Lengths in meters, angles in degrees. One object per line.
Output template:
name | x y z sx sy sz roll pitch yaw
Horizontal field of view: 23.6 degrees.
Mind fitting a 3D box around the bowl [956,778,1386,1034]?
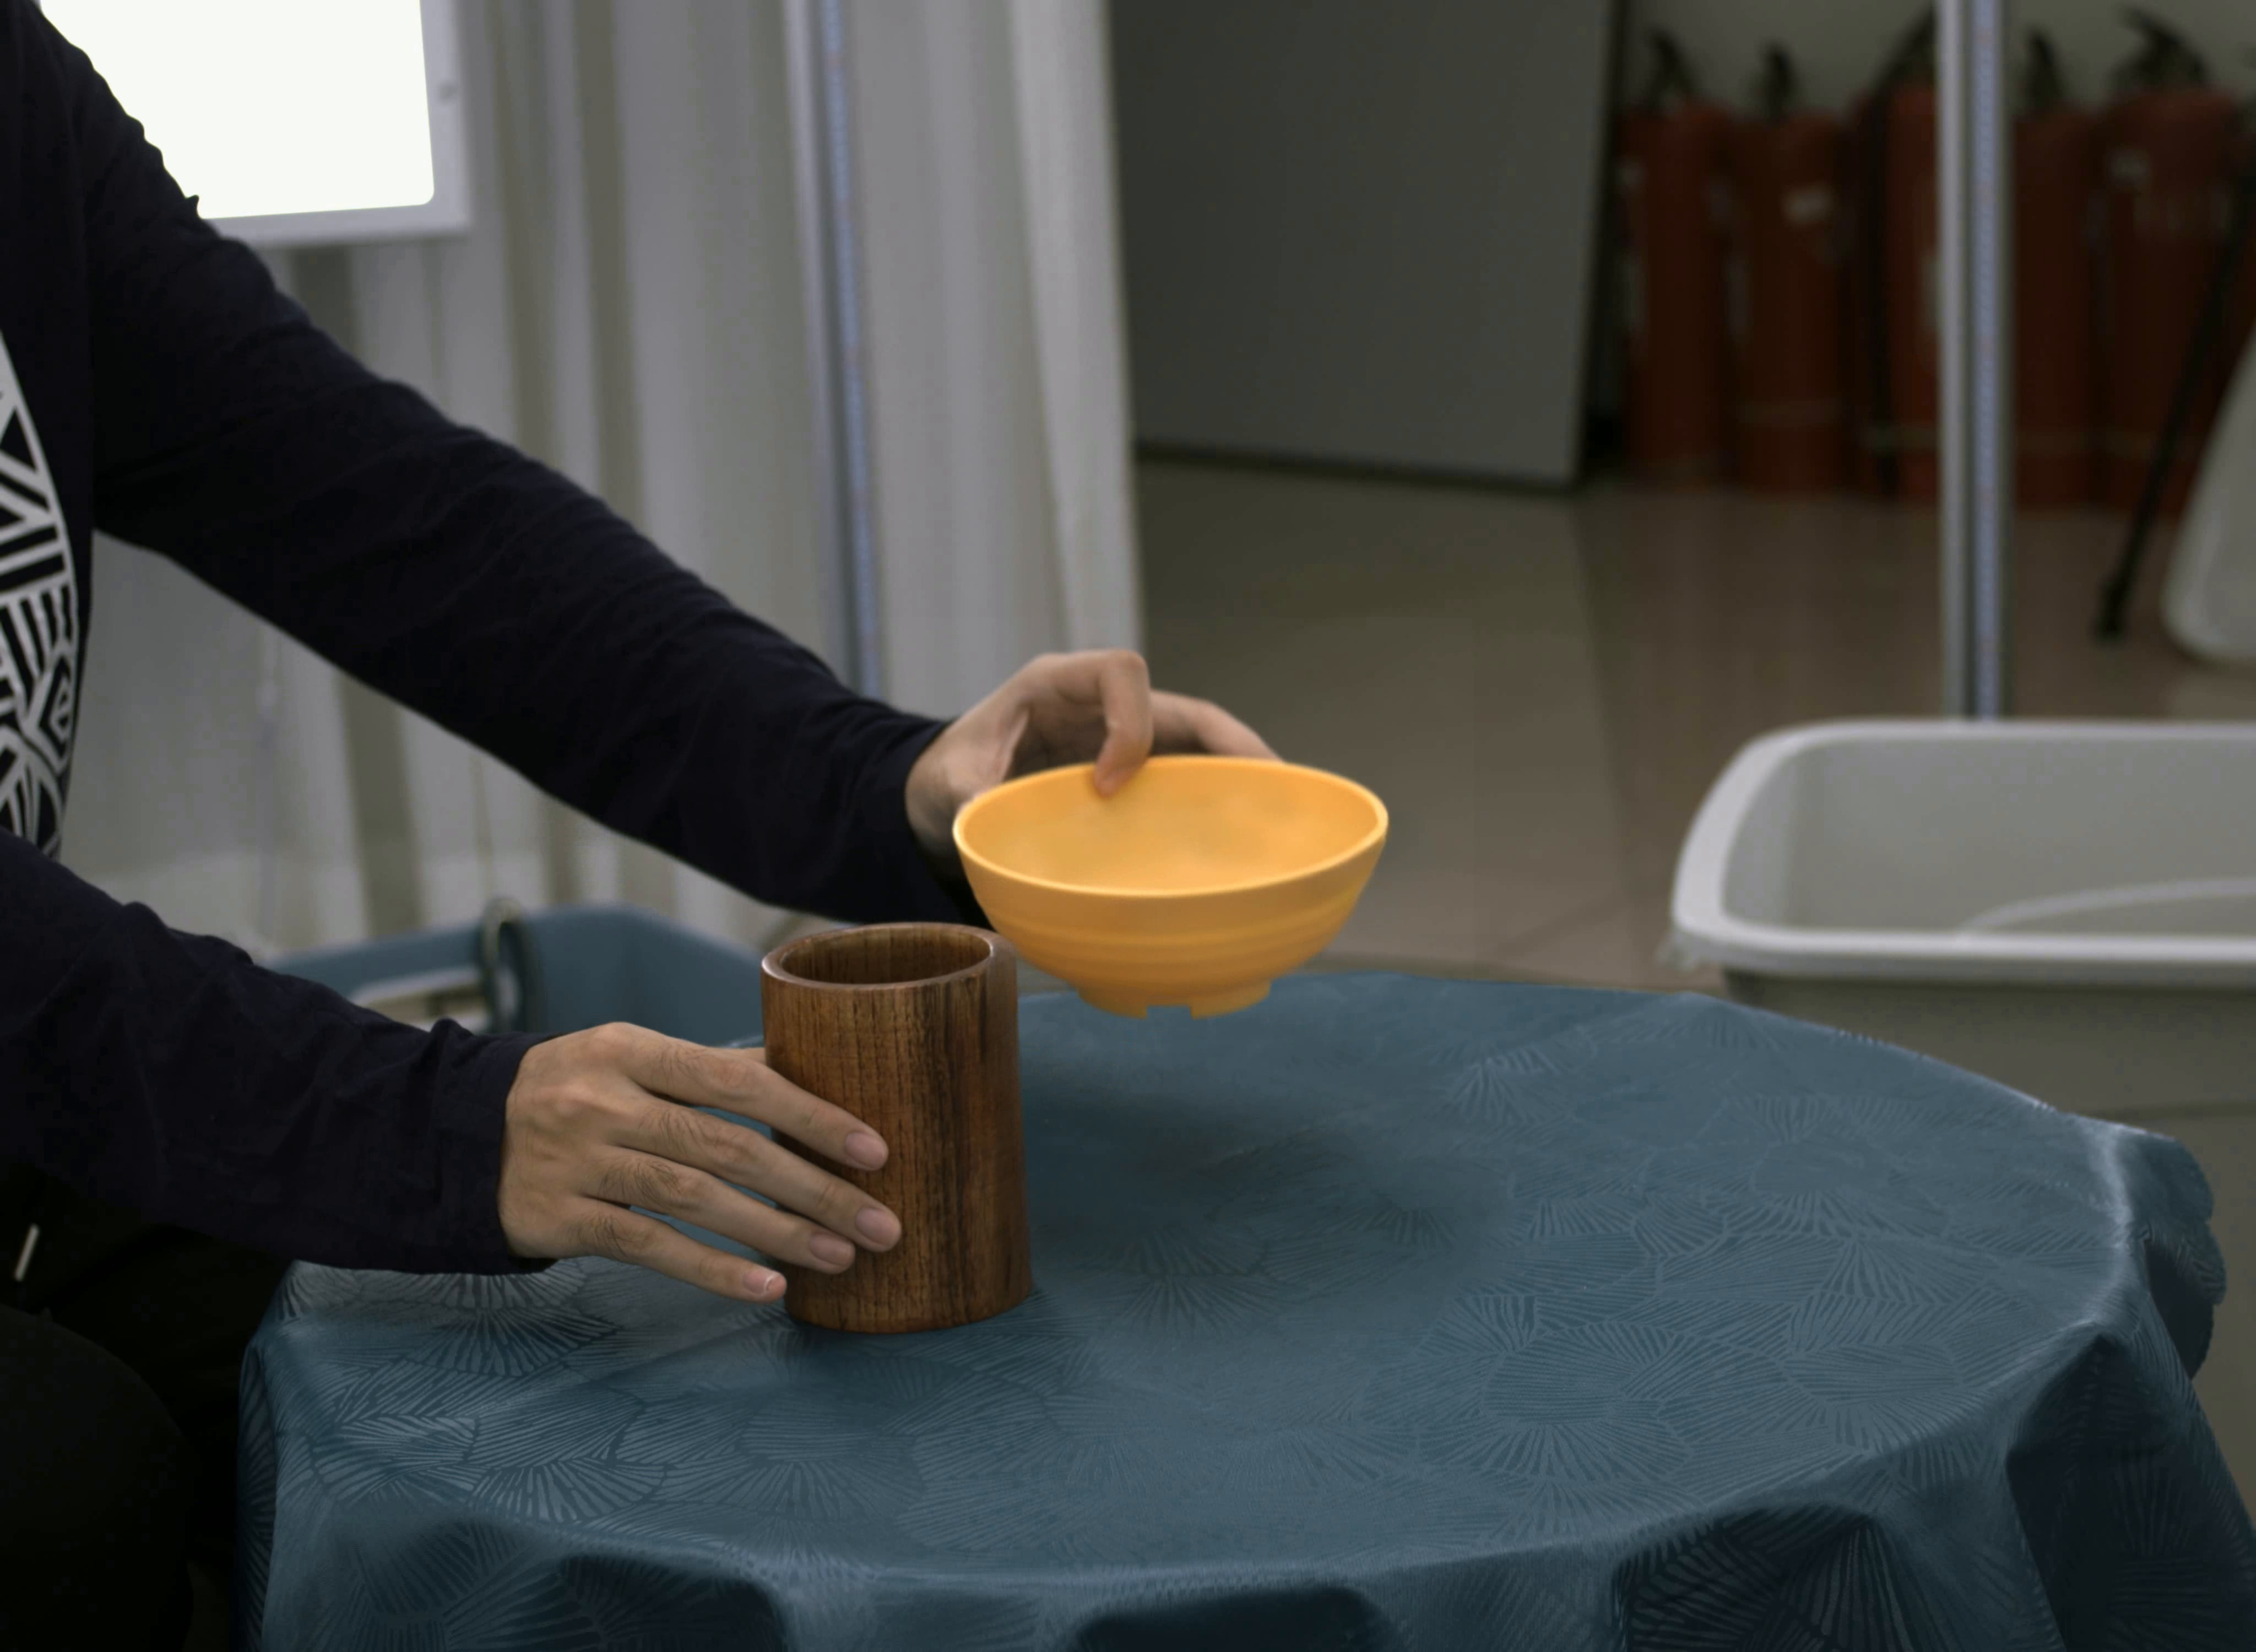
bowl | 0.015 0.030 1.777 0.143 0.061 0.145 -3 16 0

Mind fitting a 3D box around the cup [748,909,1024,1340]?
cup | -0.074 0.091 1.672 0.086 0.120 0.088 -2 10 -1
